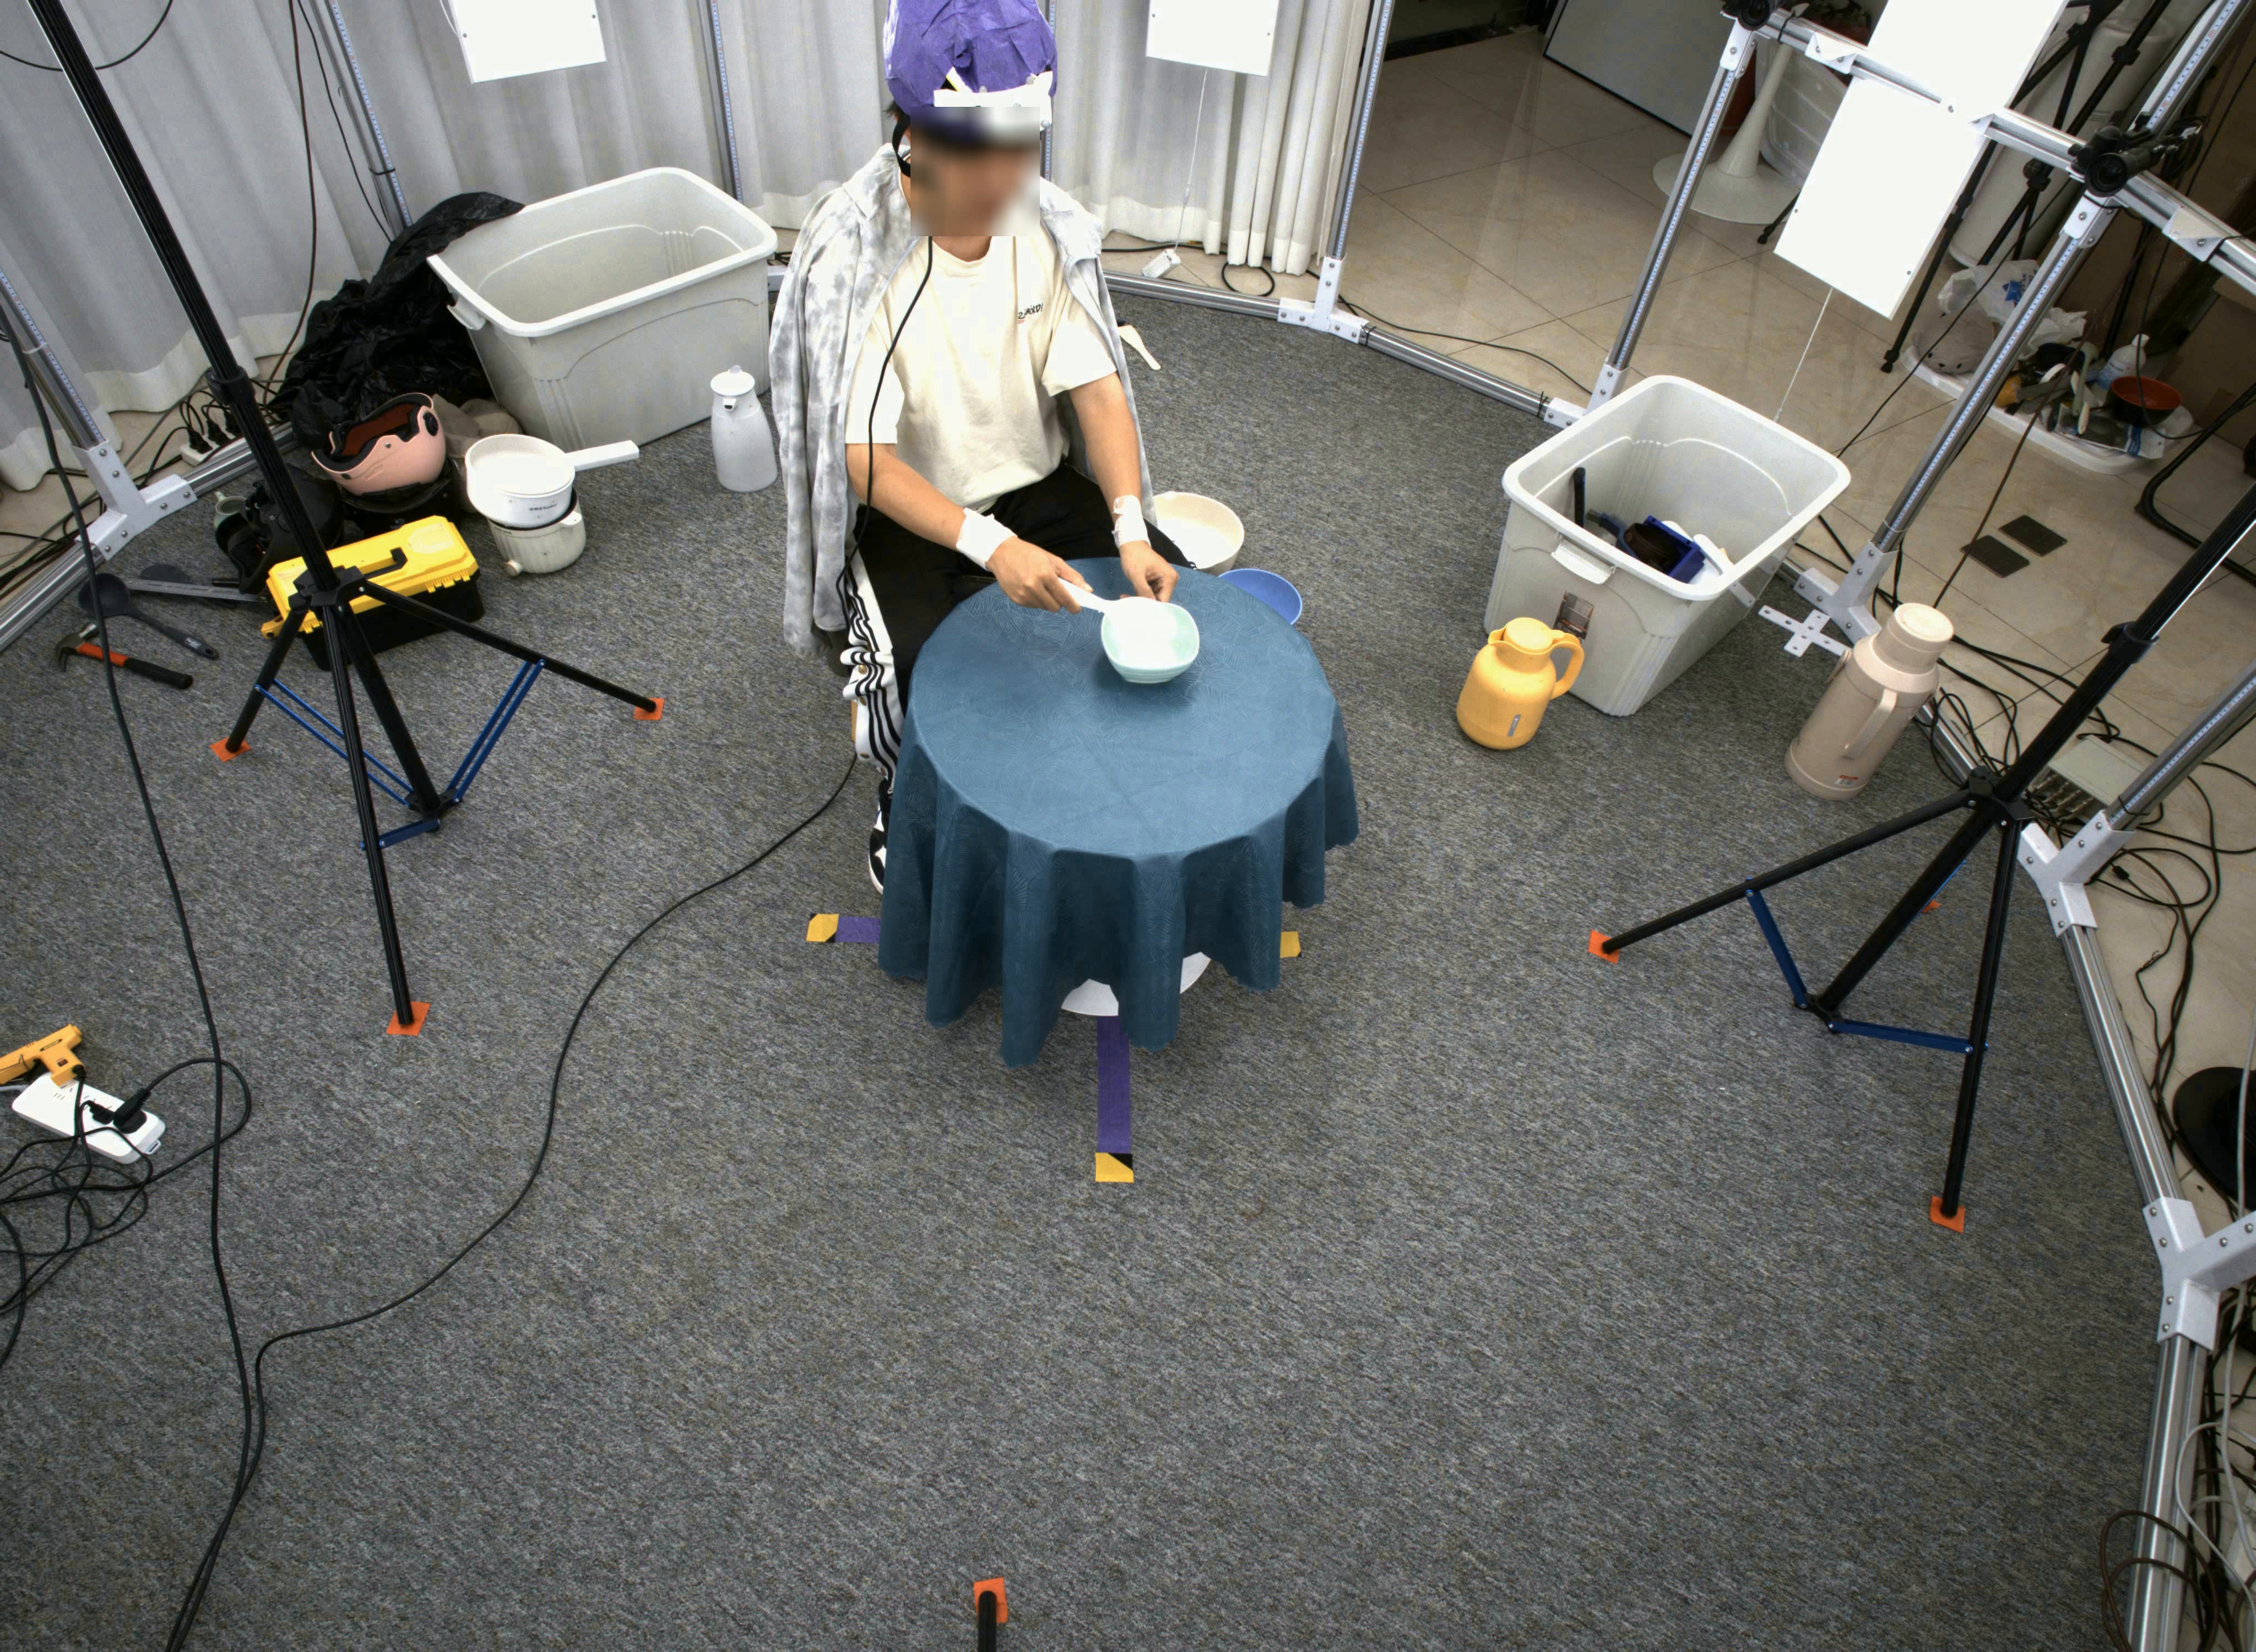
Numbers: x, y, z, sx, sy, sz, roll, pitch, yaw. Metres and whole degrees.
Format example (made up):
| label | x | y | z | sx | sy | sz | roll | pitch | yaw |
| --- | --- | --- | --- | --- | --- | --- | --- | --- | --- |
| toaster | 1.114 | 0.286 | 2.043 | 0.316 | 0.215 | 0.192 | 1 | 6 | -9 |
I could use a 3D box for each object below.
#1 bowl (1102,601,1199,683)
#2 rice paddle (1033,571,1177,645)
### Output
| label | x | y | z | sx | sy | sz | roll | pitch | yaw |
| --- | --- | --- | --- | --- | --- | --- | --- | --- | --- |
| bowl | 0.031 | -0.257 | 1.849 | 0.151 | 0.057 | 0.155 | 1 | 52 | -2 |
| rice paddle | -0.030 | -0.304 | 1.773 | 0.205 | 0.029 | 0.069 | 19 | 79 | -1 |
